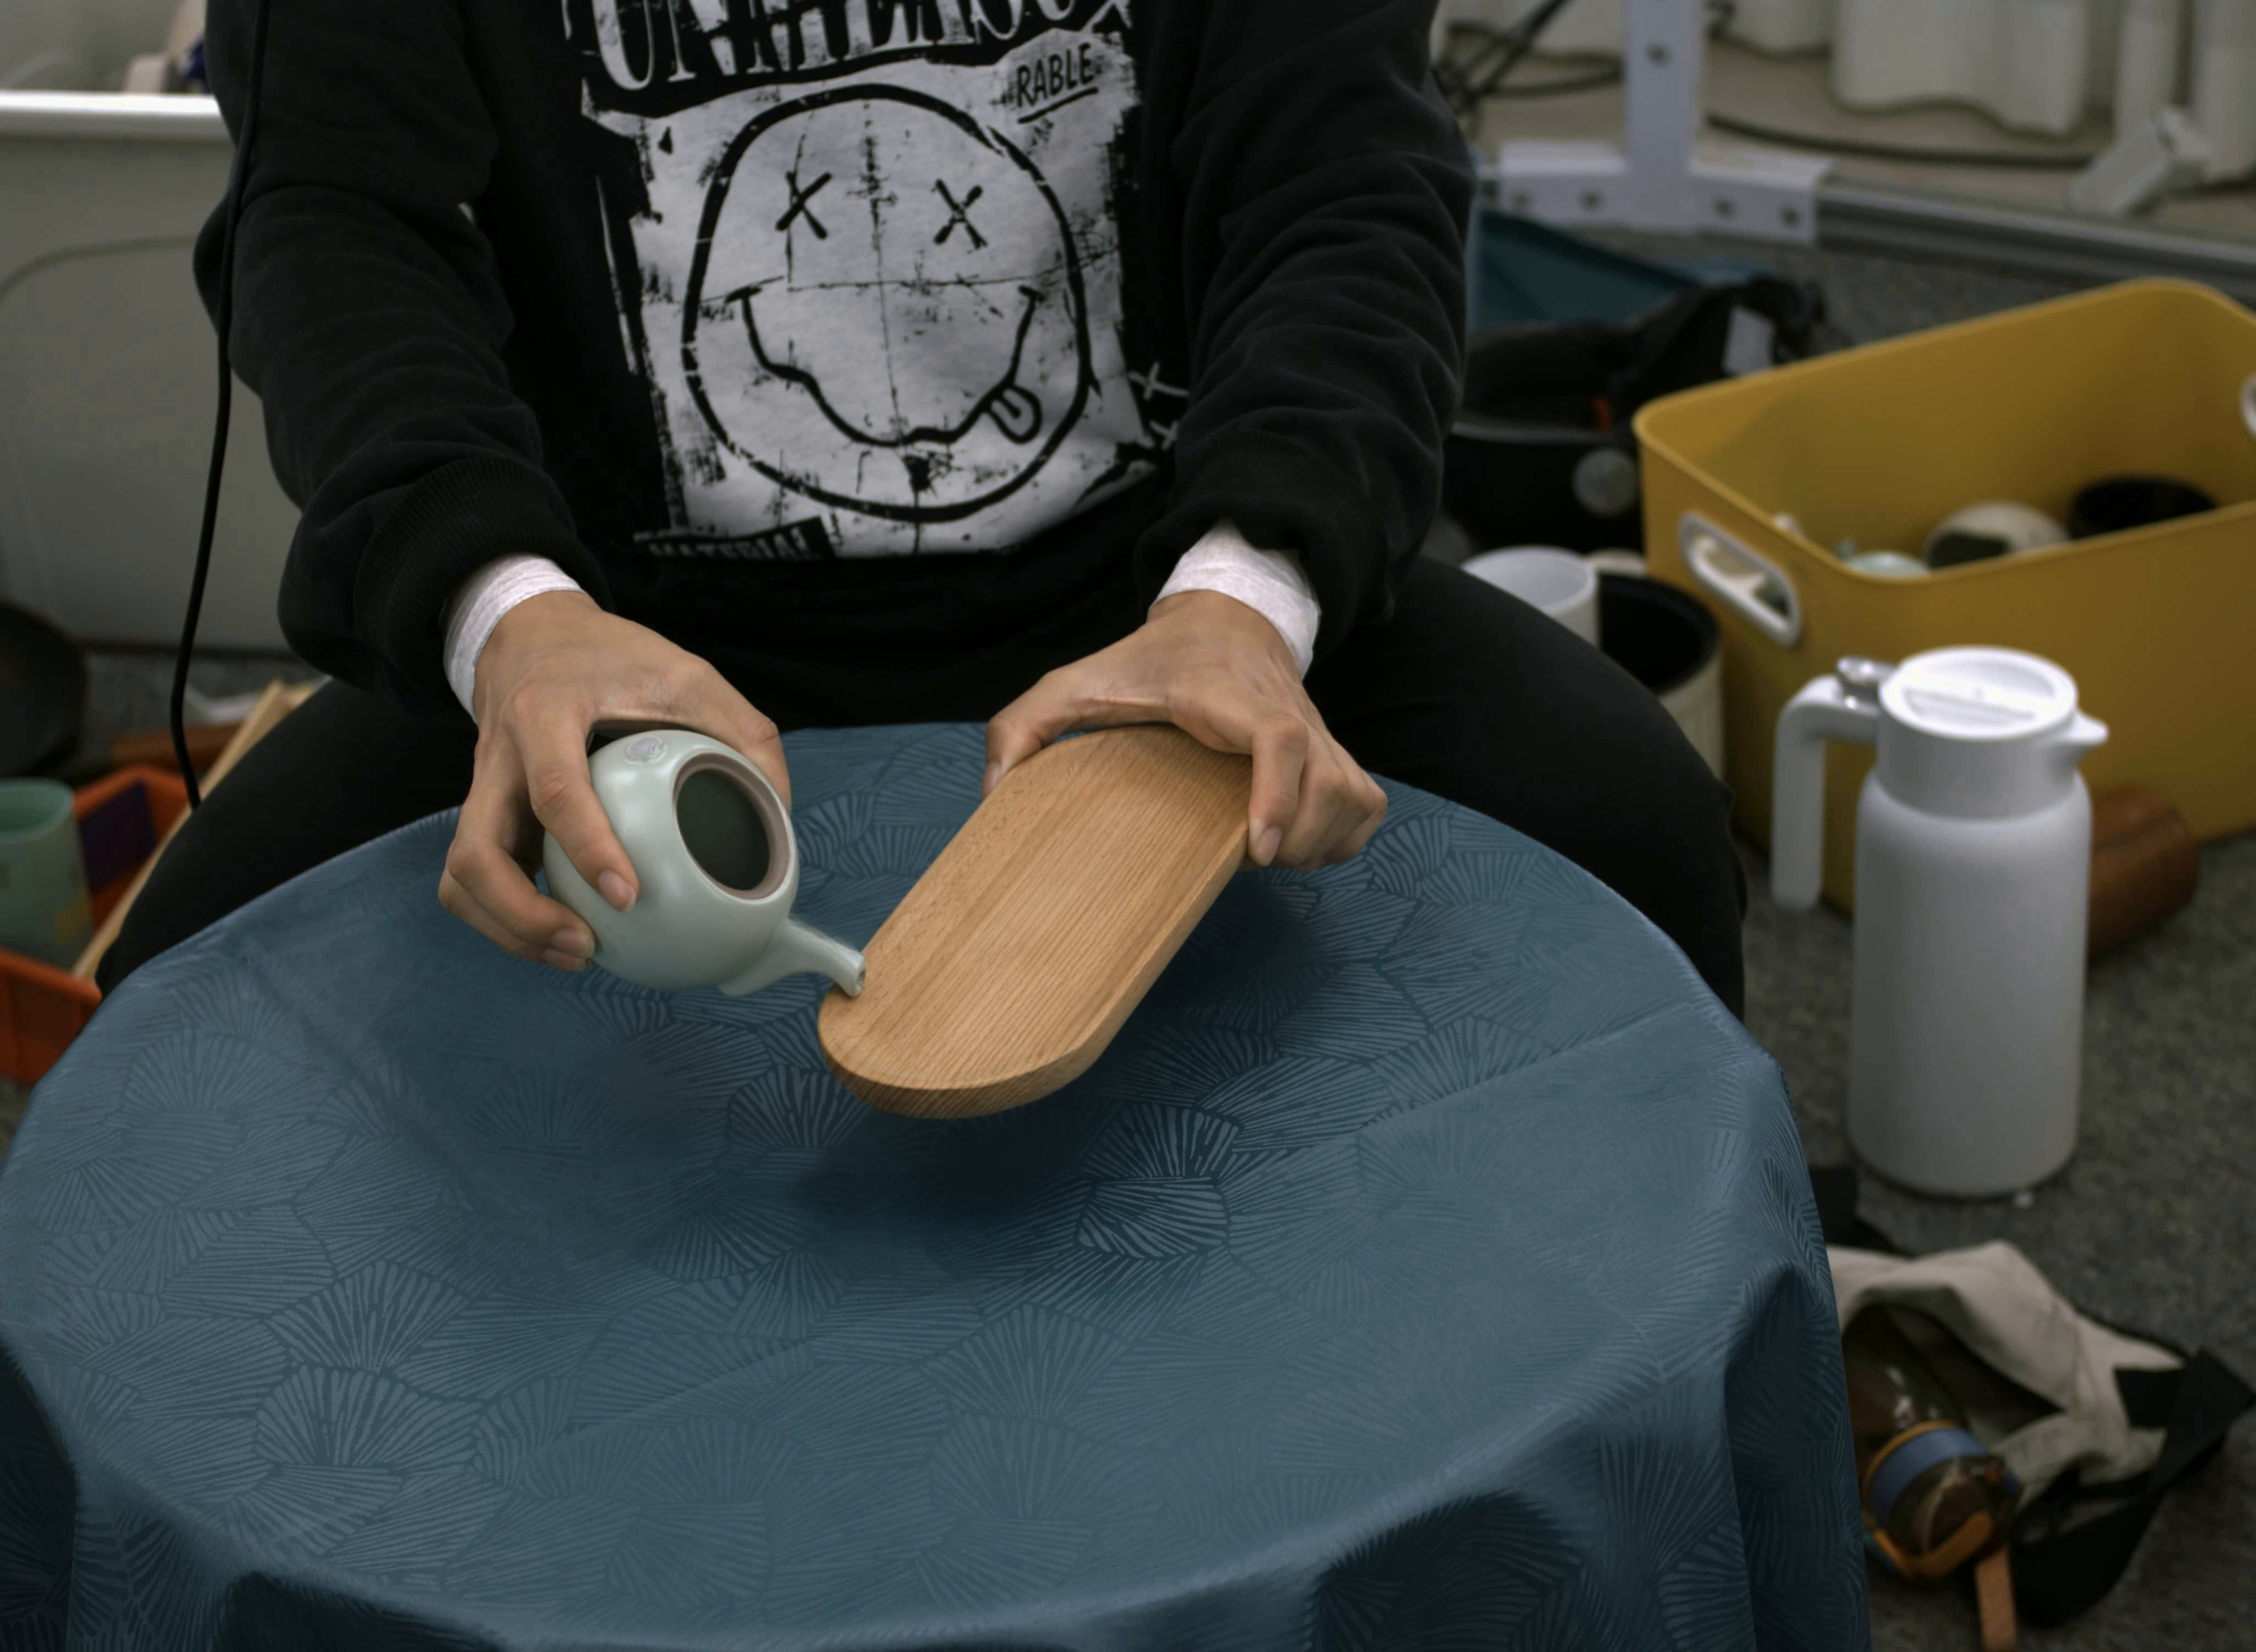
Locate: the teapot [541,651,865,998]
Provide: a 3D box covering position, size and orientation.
[{"bbox_3d":[-0.152,0.011,1.869,0.073,0.143,0.090,-27,14,33],"label":"teapot"}]

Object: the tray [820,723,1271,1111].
[{"bbox_3d":[-0.026,0.029,1.909,0.101,0.020,0.235,8,32,22],"label":"tray"}]
